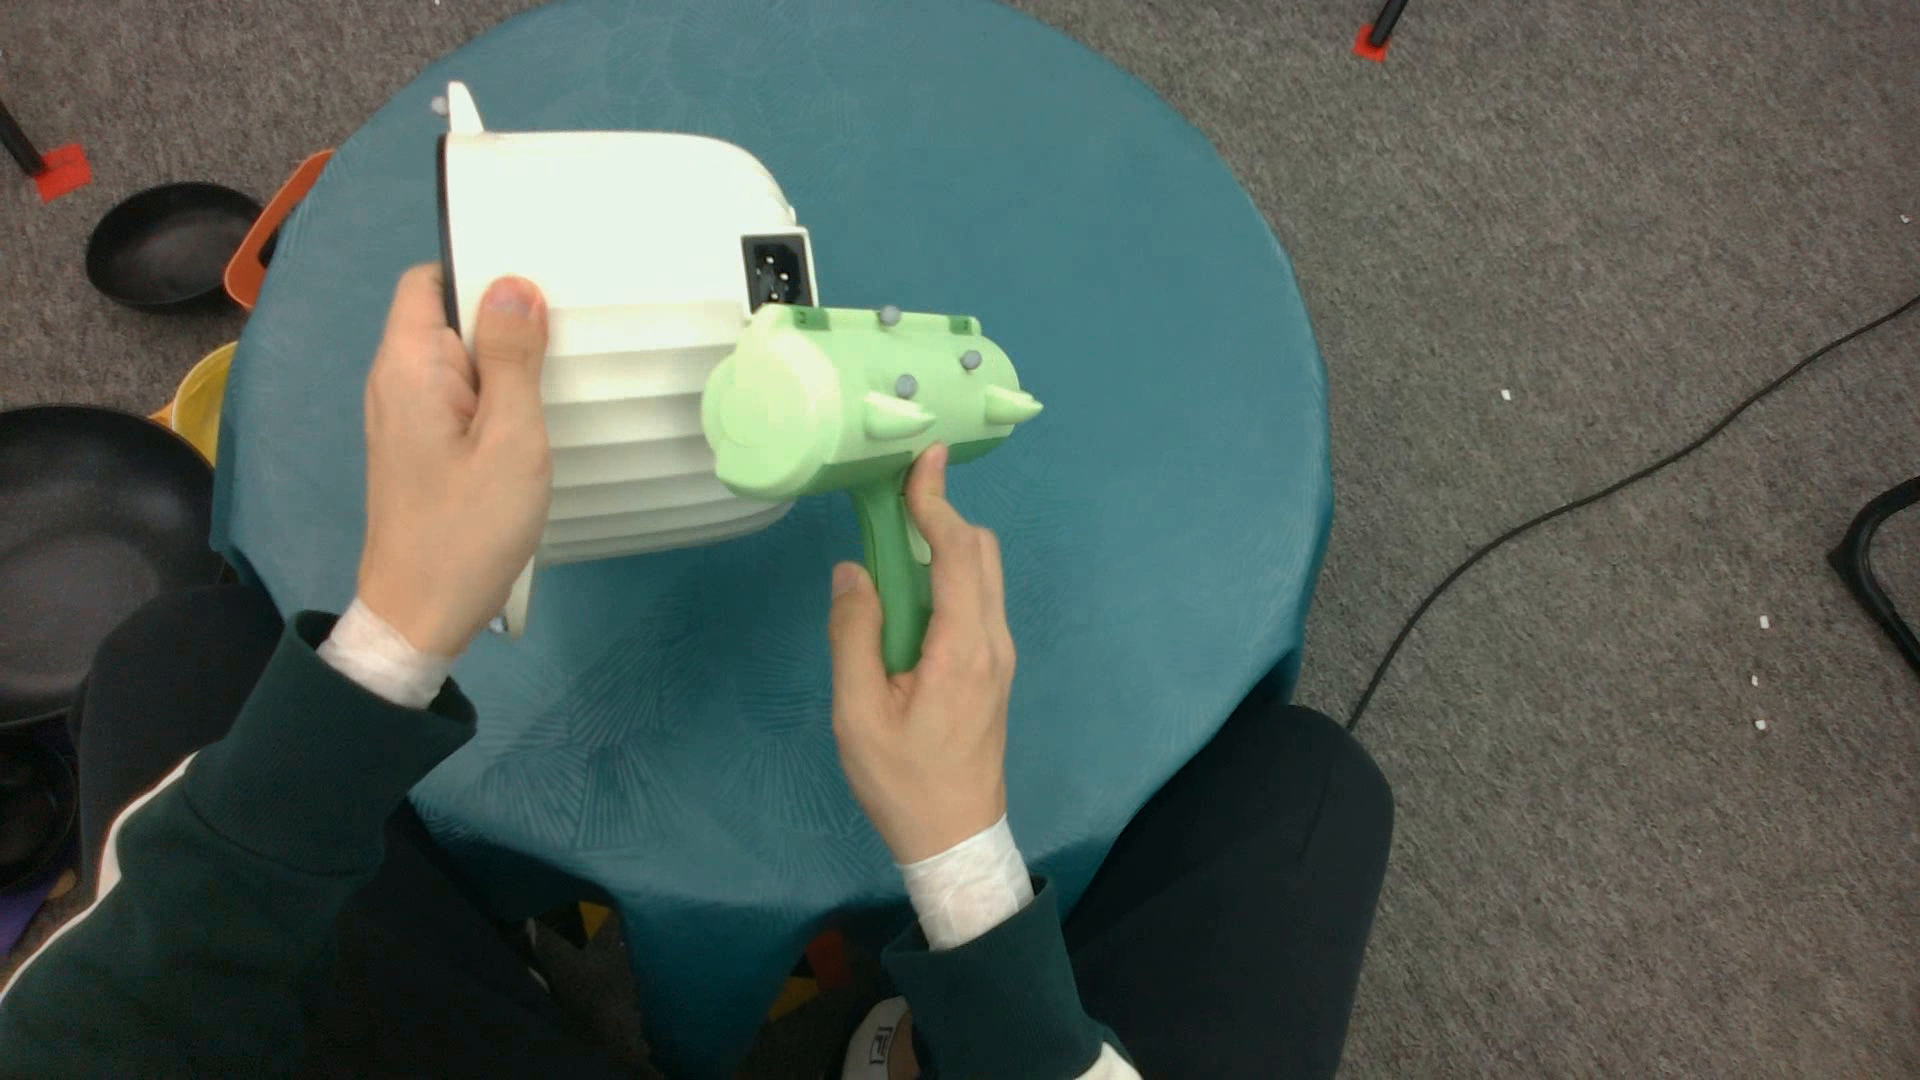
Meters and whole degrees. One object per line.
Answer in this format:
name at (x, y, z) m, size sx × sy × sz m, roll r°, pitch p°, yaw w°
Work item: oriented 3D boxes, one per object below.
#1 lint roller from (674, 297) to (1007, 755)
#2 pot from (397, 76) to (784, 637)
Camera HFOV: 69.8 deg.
lint roller at (-0.026, -0.006, 0.559) m, size 0.082 × 0.199 × 0.183 m, roll -12°, pitch 93°, yaw 21°
pot at (-0.156, -0.084, 0.594) m, size 0.143 × 0.190 × 0.240 m, roll -6°, pitch 82°, yaw -19°
